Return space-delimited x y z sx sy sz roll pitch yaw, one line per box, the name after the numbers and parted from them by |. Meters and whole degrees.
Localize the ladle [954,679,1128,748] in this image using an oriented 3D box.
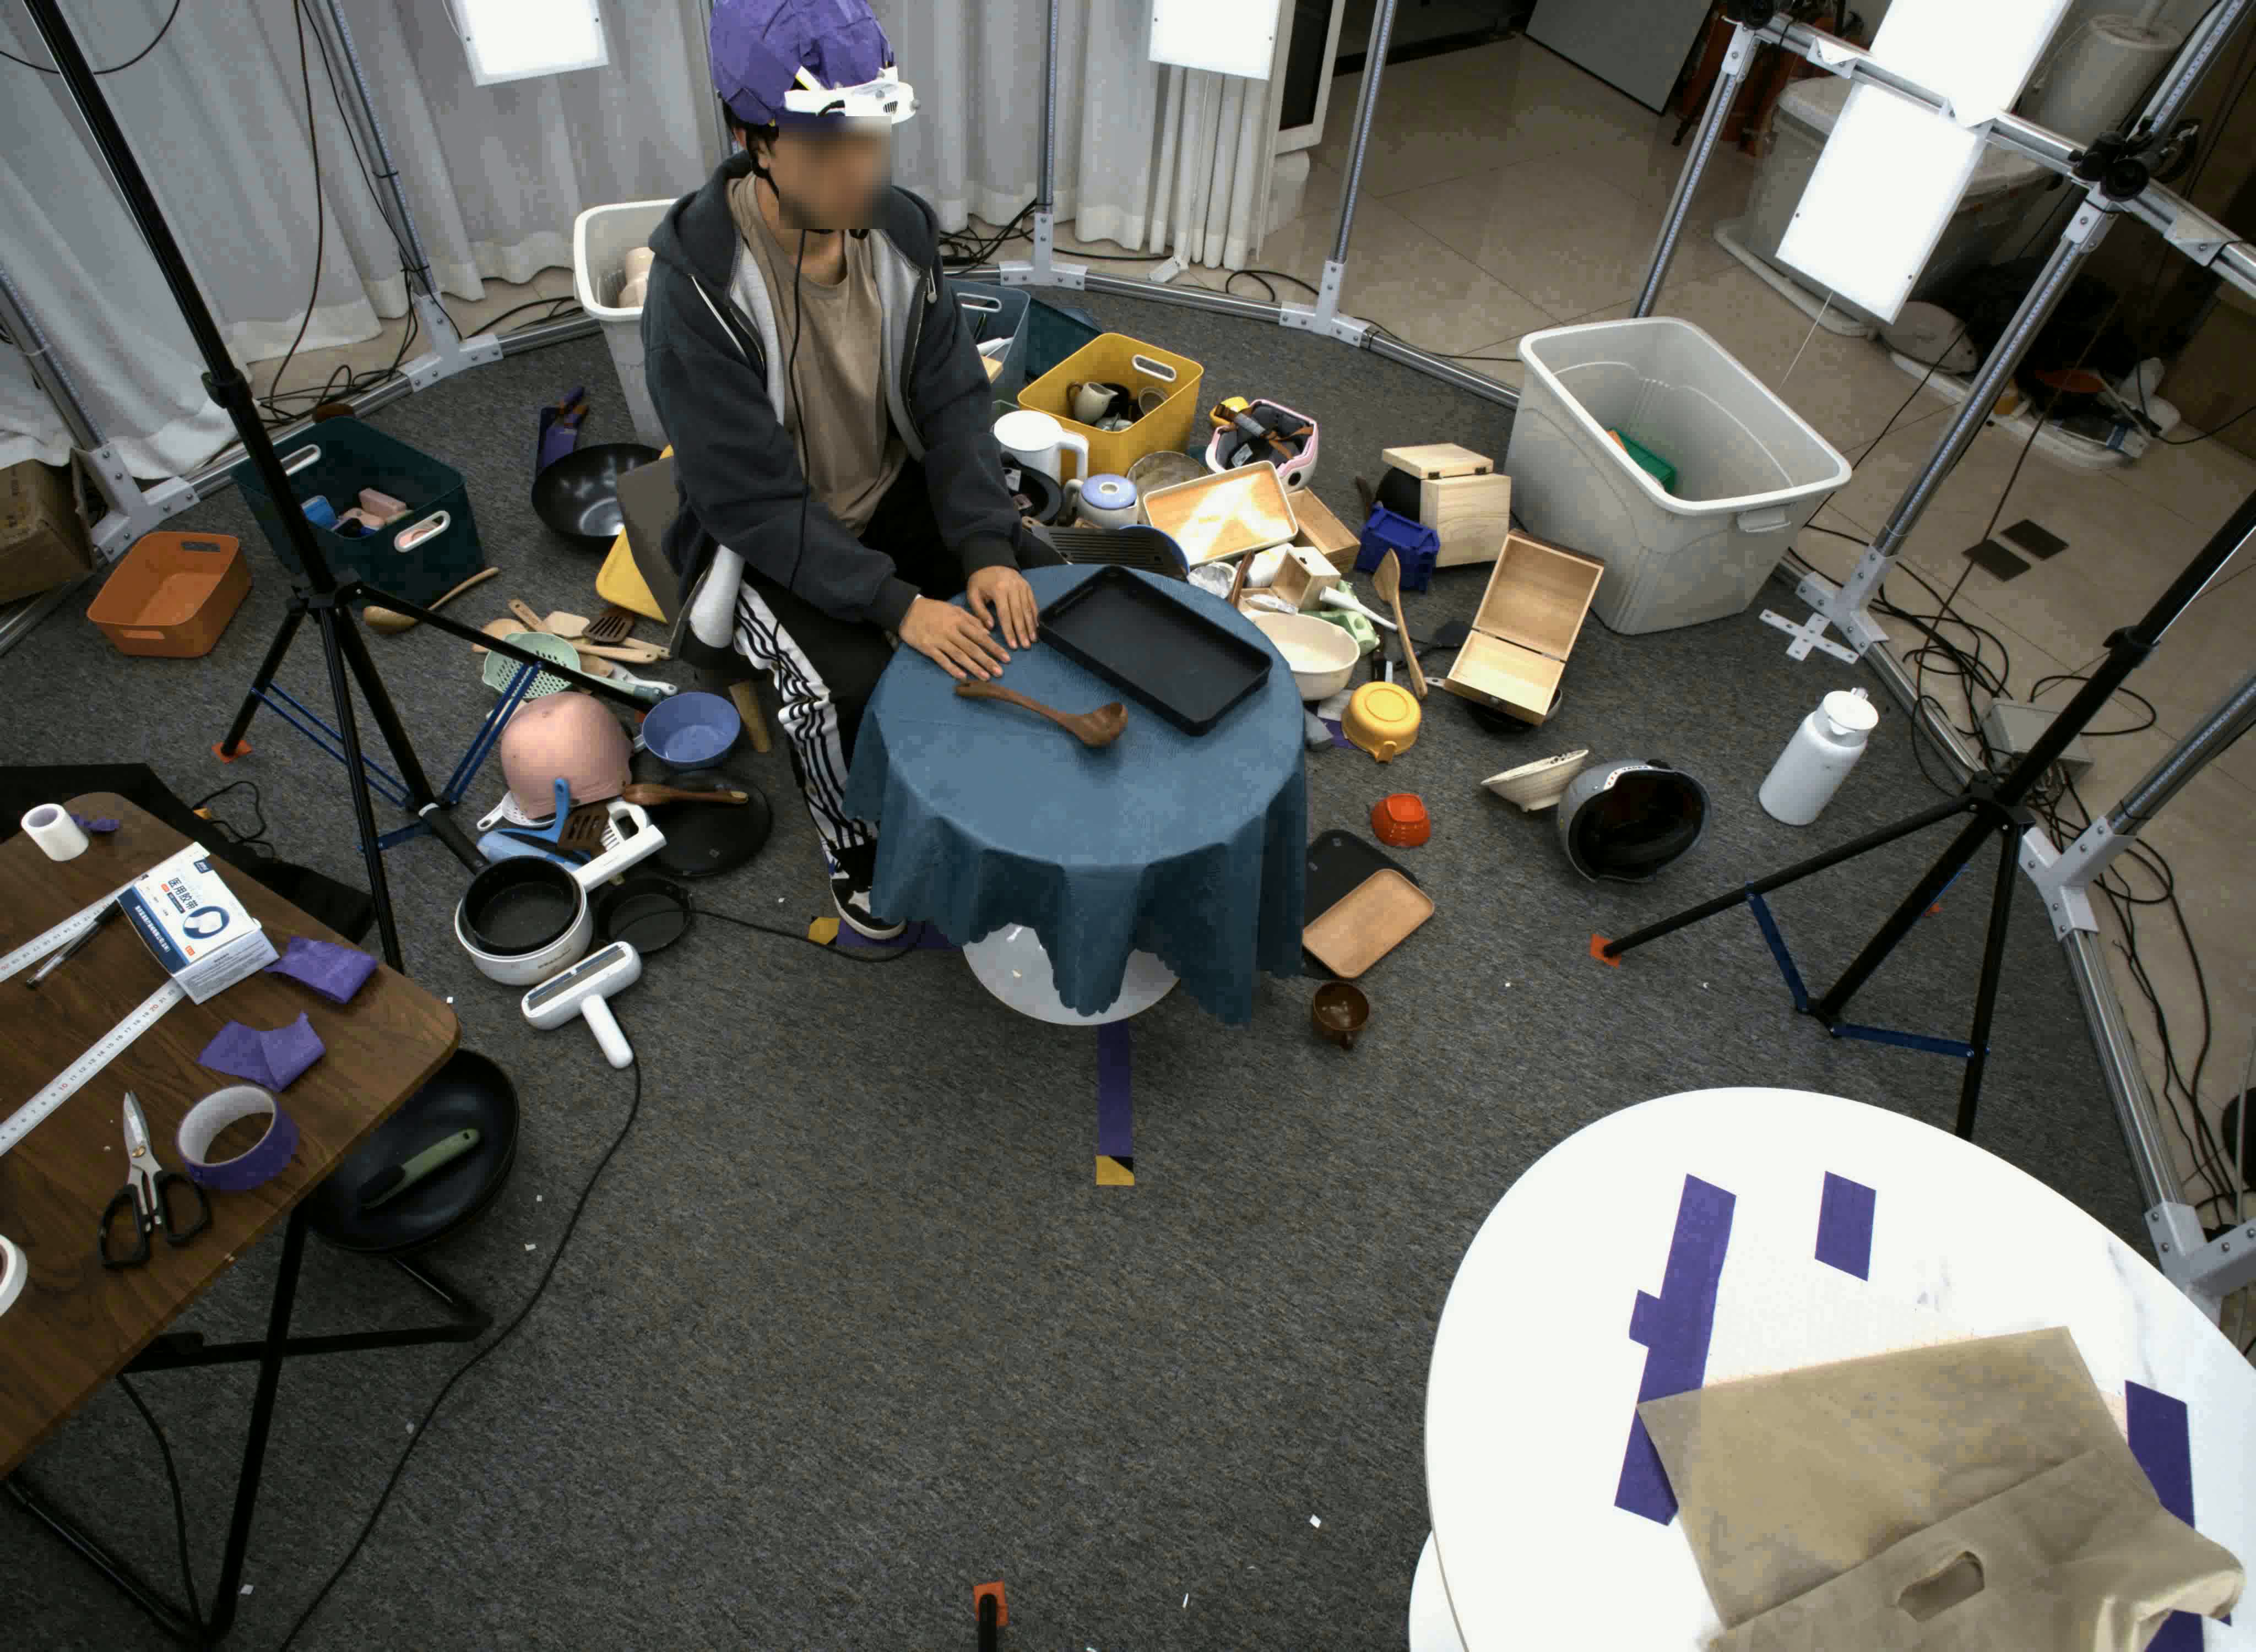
-0.123 -0.170 1.764 0.261 0.063 0.078 20 52 13 | ladle

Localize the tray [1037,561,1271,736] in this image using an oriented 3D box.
0.036 -0.263 1.871 0.322 0.036 0.186 35 56 23 | tray
